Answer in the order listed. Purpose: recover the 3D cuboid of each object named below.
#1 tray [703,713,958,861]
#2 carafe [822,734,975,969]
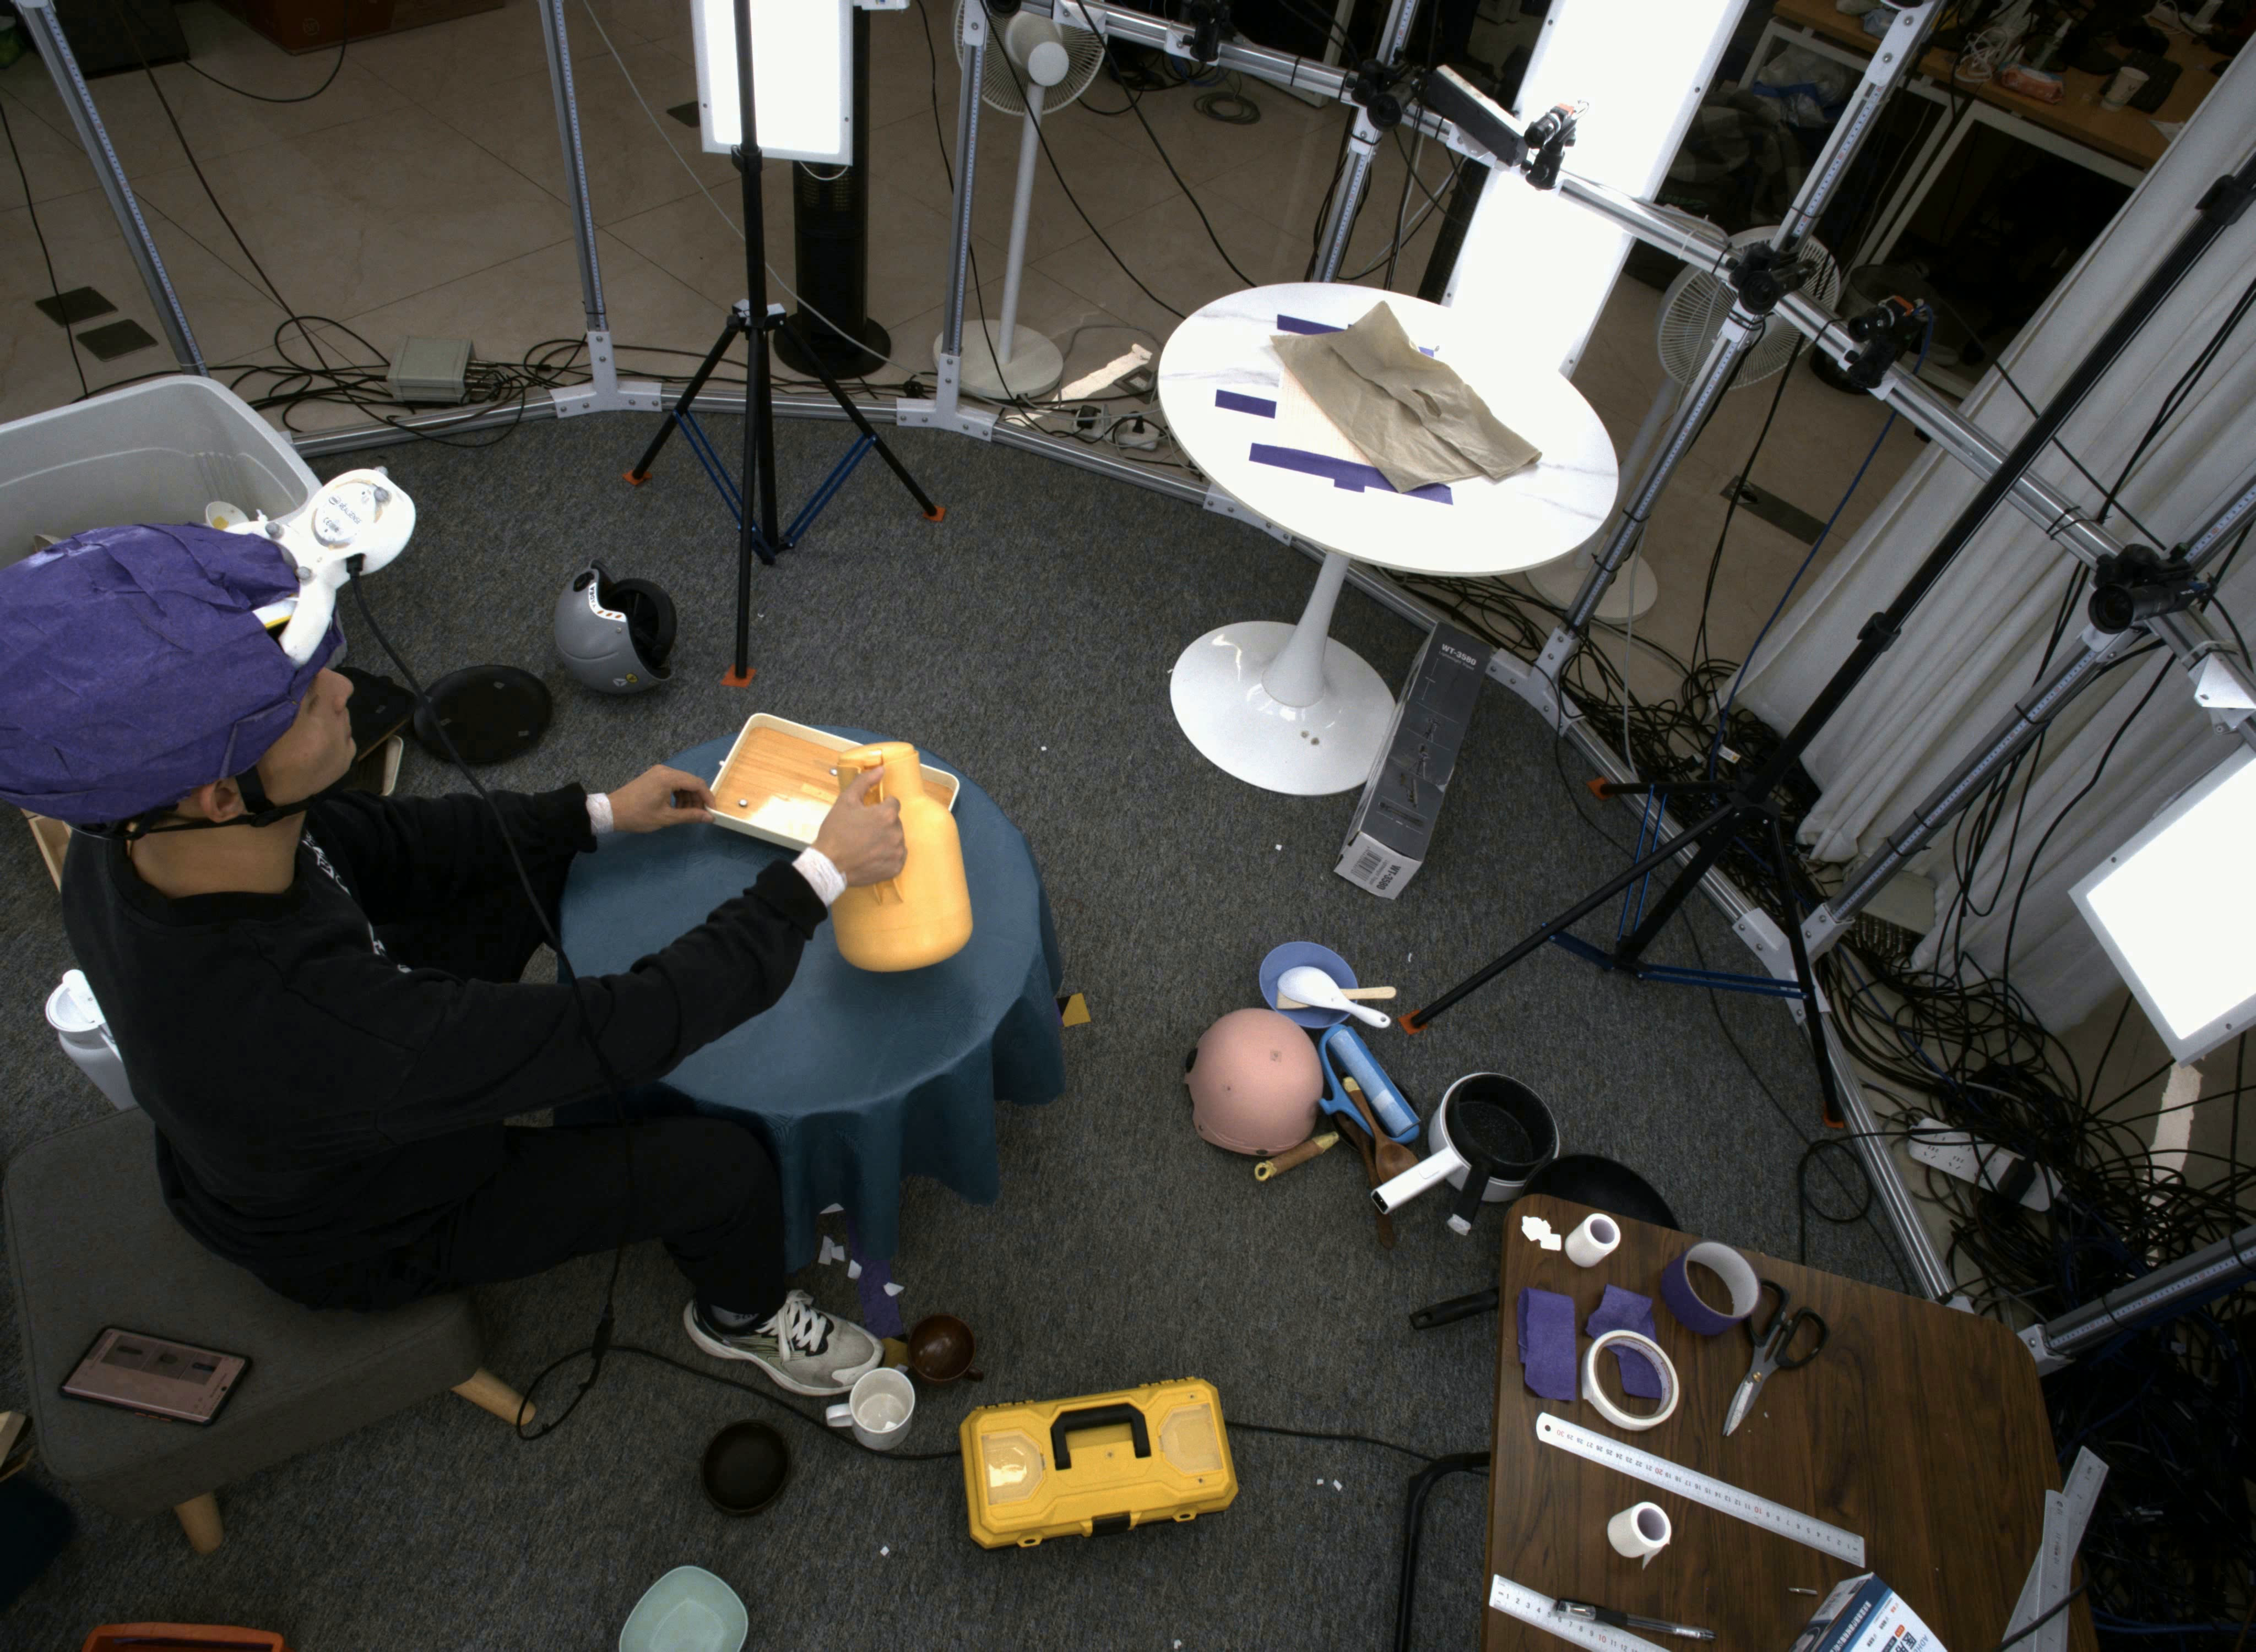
[{"bbox_3d":[-0.390,-0.038,1.721,0.300,0.028,0.189,18,48,-7],"label":"tray"},{"bbox_3d":[-0.277,0.029,1.505,0.162,0.267,0.199,-10,13,0],"label":"carafe"}]
